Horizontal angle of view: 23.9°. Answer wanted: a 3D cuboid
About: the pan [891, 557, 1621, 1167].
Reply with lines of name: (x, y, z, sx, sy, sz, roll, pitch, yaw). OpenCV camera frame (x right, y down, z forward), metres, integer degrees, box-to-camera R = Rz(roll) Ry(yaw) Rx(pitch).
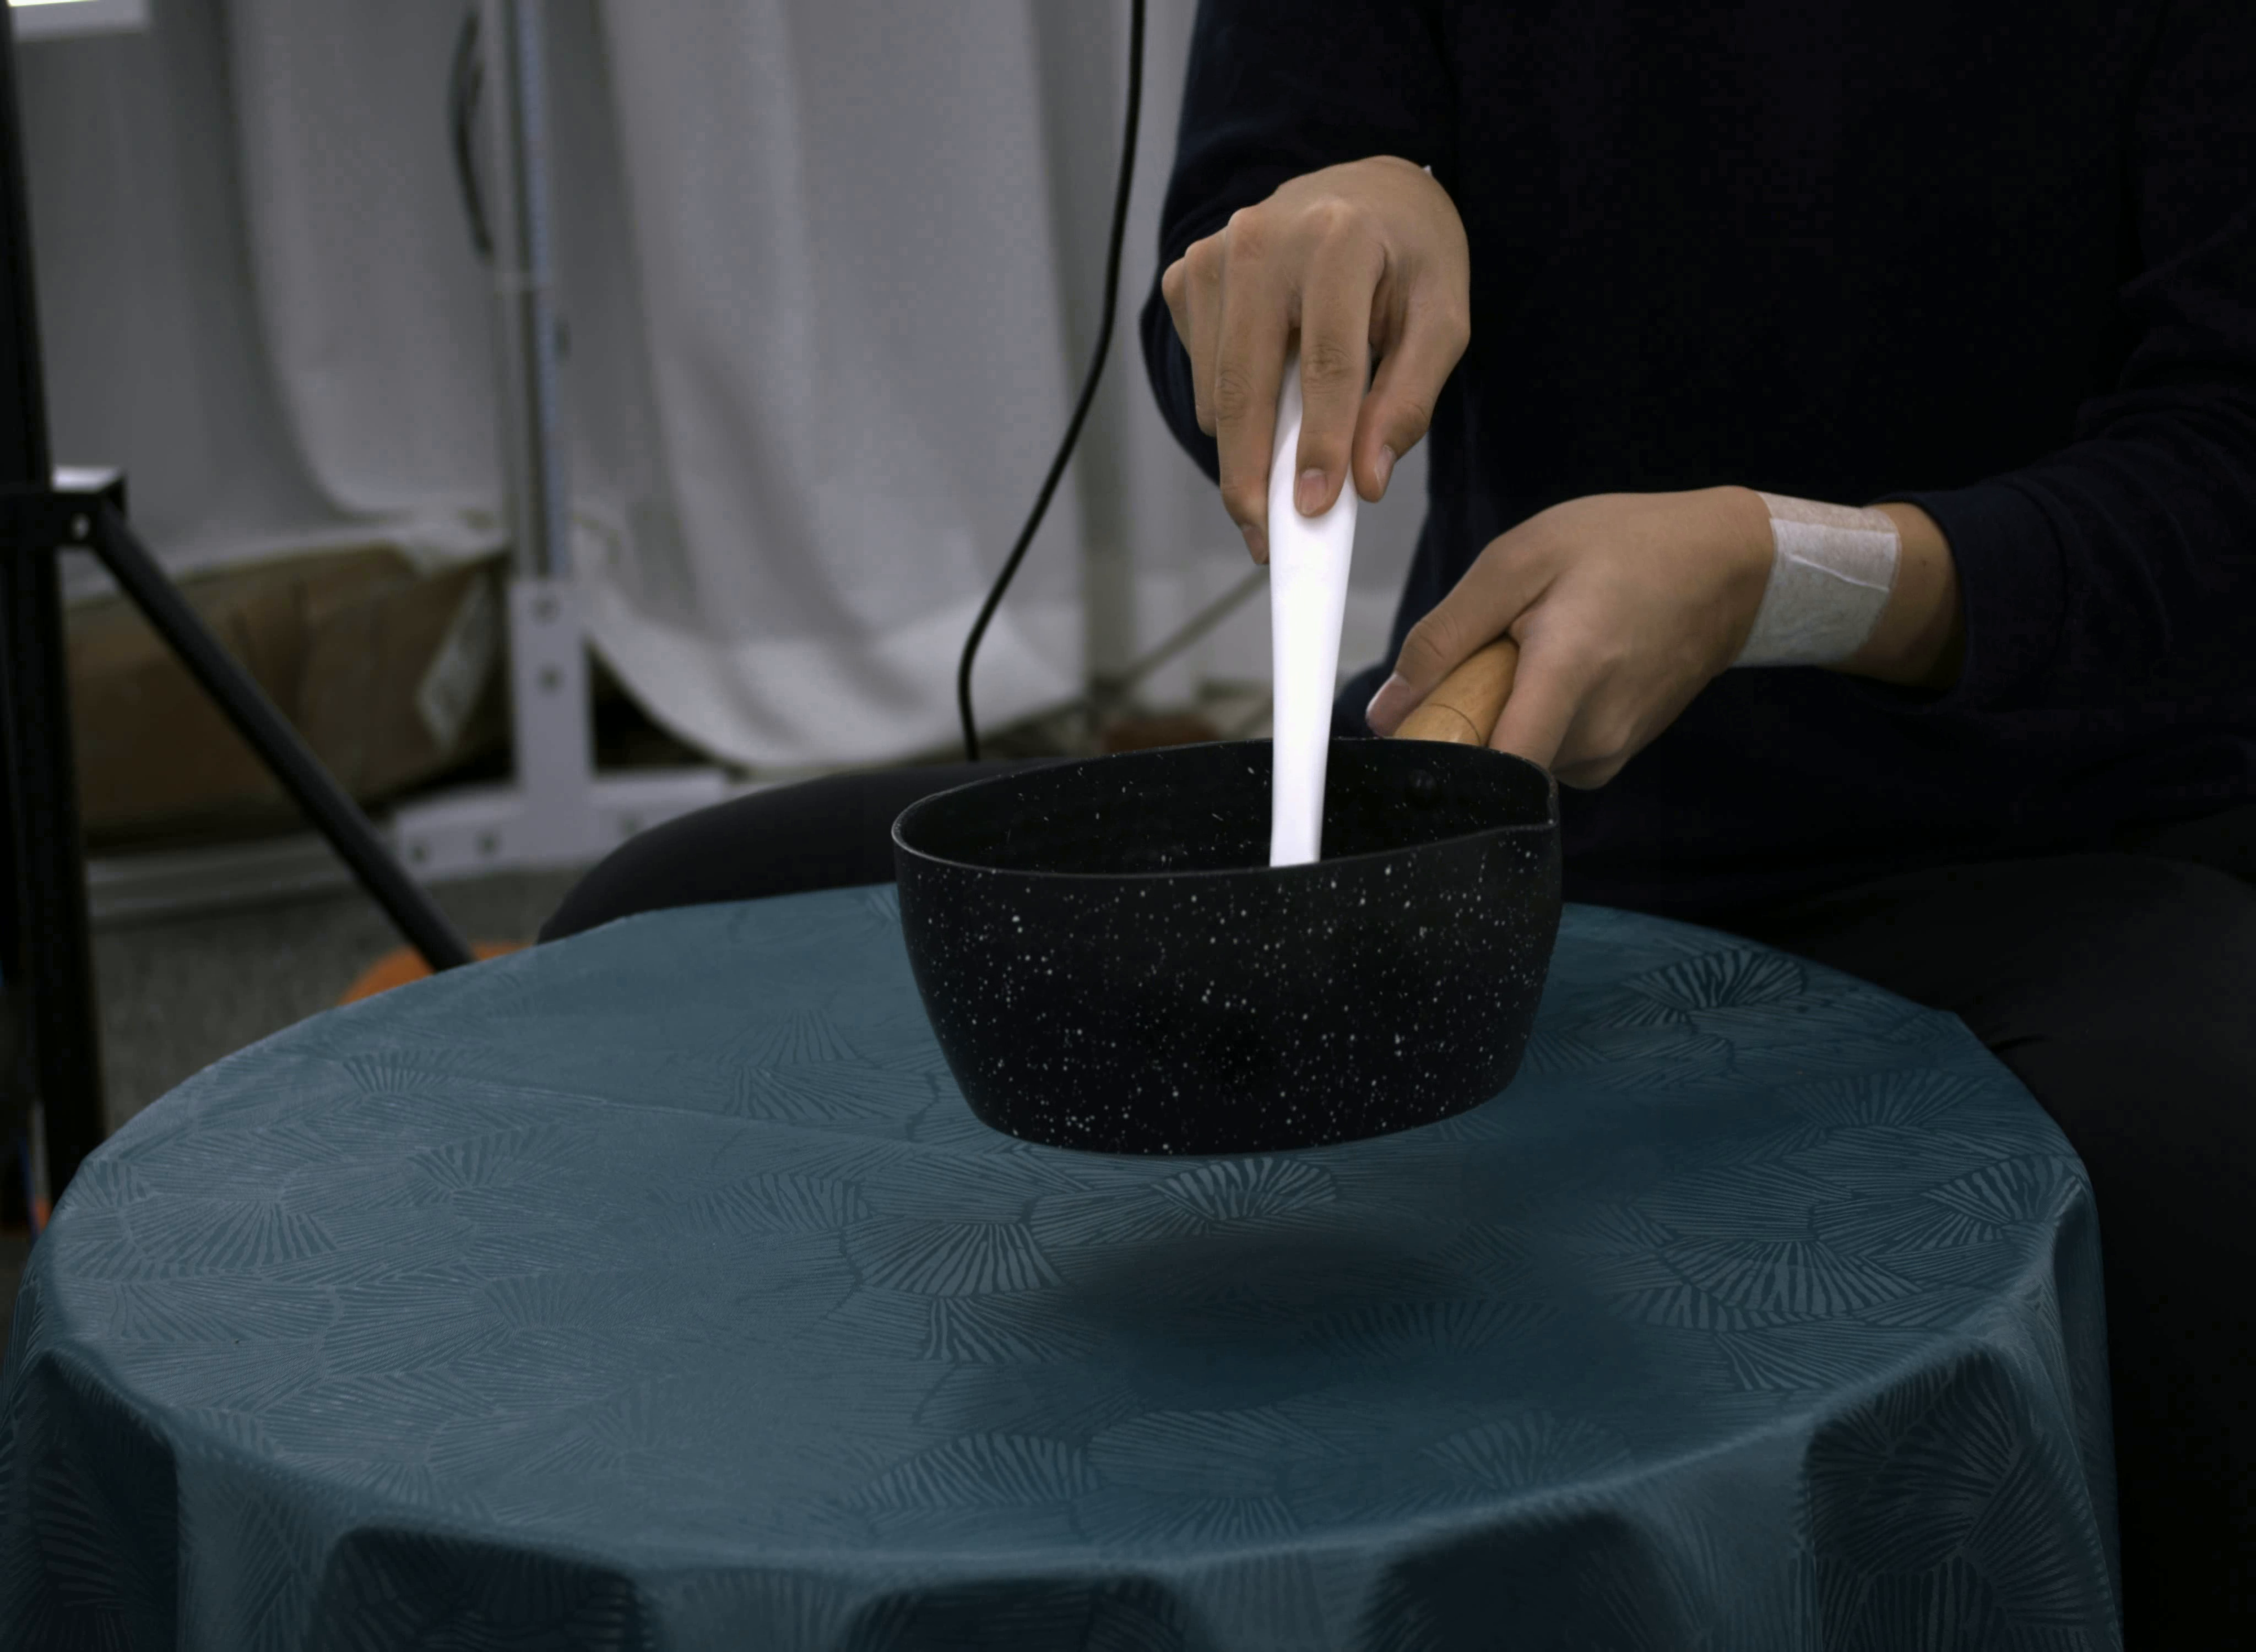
pan: (0.065, 0.006, 1.530, 0.211, 0.108, 0.337, 0, 13, 29)

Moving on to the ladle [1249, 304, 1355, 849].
ladle: (0.034, -0.044, 1.536, 0.091, 0.068, 0.295, -17, 48, 27)
